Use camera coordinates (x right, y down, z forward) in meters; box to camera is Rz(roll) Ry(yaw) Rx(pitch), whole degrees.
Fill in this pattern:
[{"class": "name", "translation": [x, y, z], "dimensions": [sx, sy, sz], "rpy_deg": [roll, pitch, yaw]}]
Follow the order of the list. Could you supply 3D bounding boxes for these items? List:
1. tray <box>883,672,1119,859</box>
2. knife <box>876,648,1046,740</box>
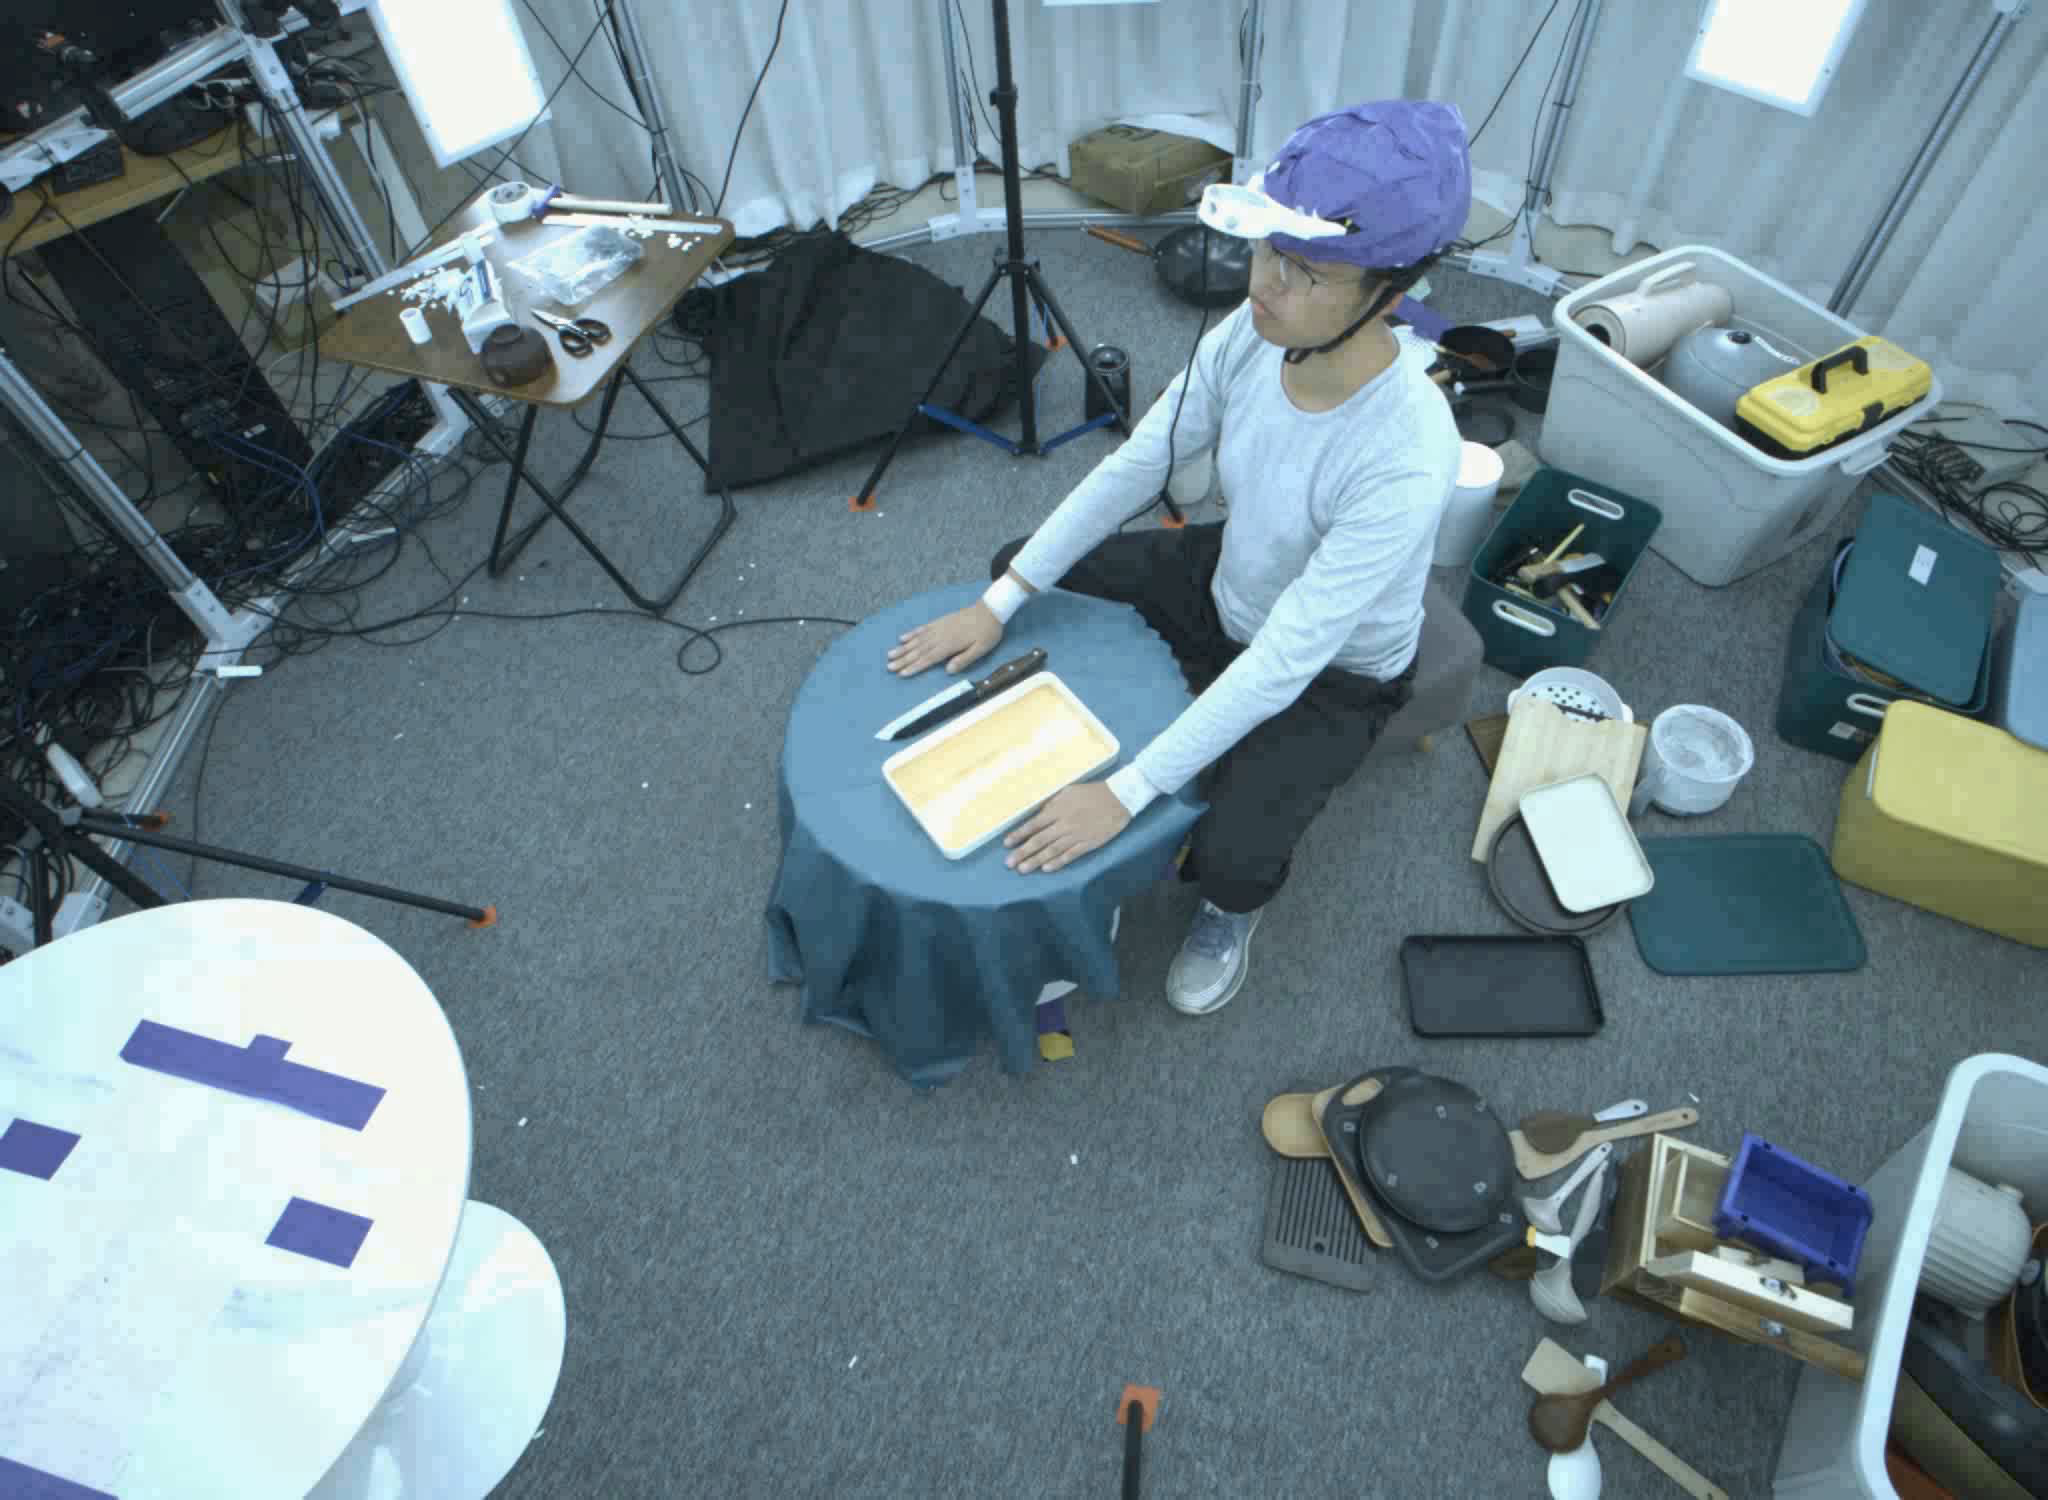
[{"class": "tray", "translation": [-0.032, 0.017, 1.768], "dimensions": [0.303, 0.028, 0.188], "rpy_deg": [-31, 59, -19]}, {"class": "knife", "translation": [-0.094, -0.083, 1.848], "dimensions": [0.291, 0.020, 0.049], "rpy_deg": [-28, 53, -15]}]
